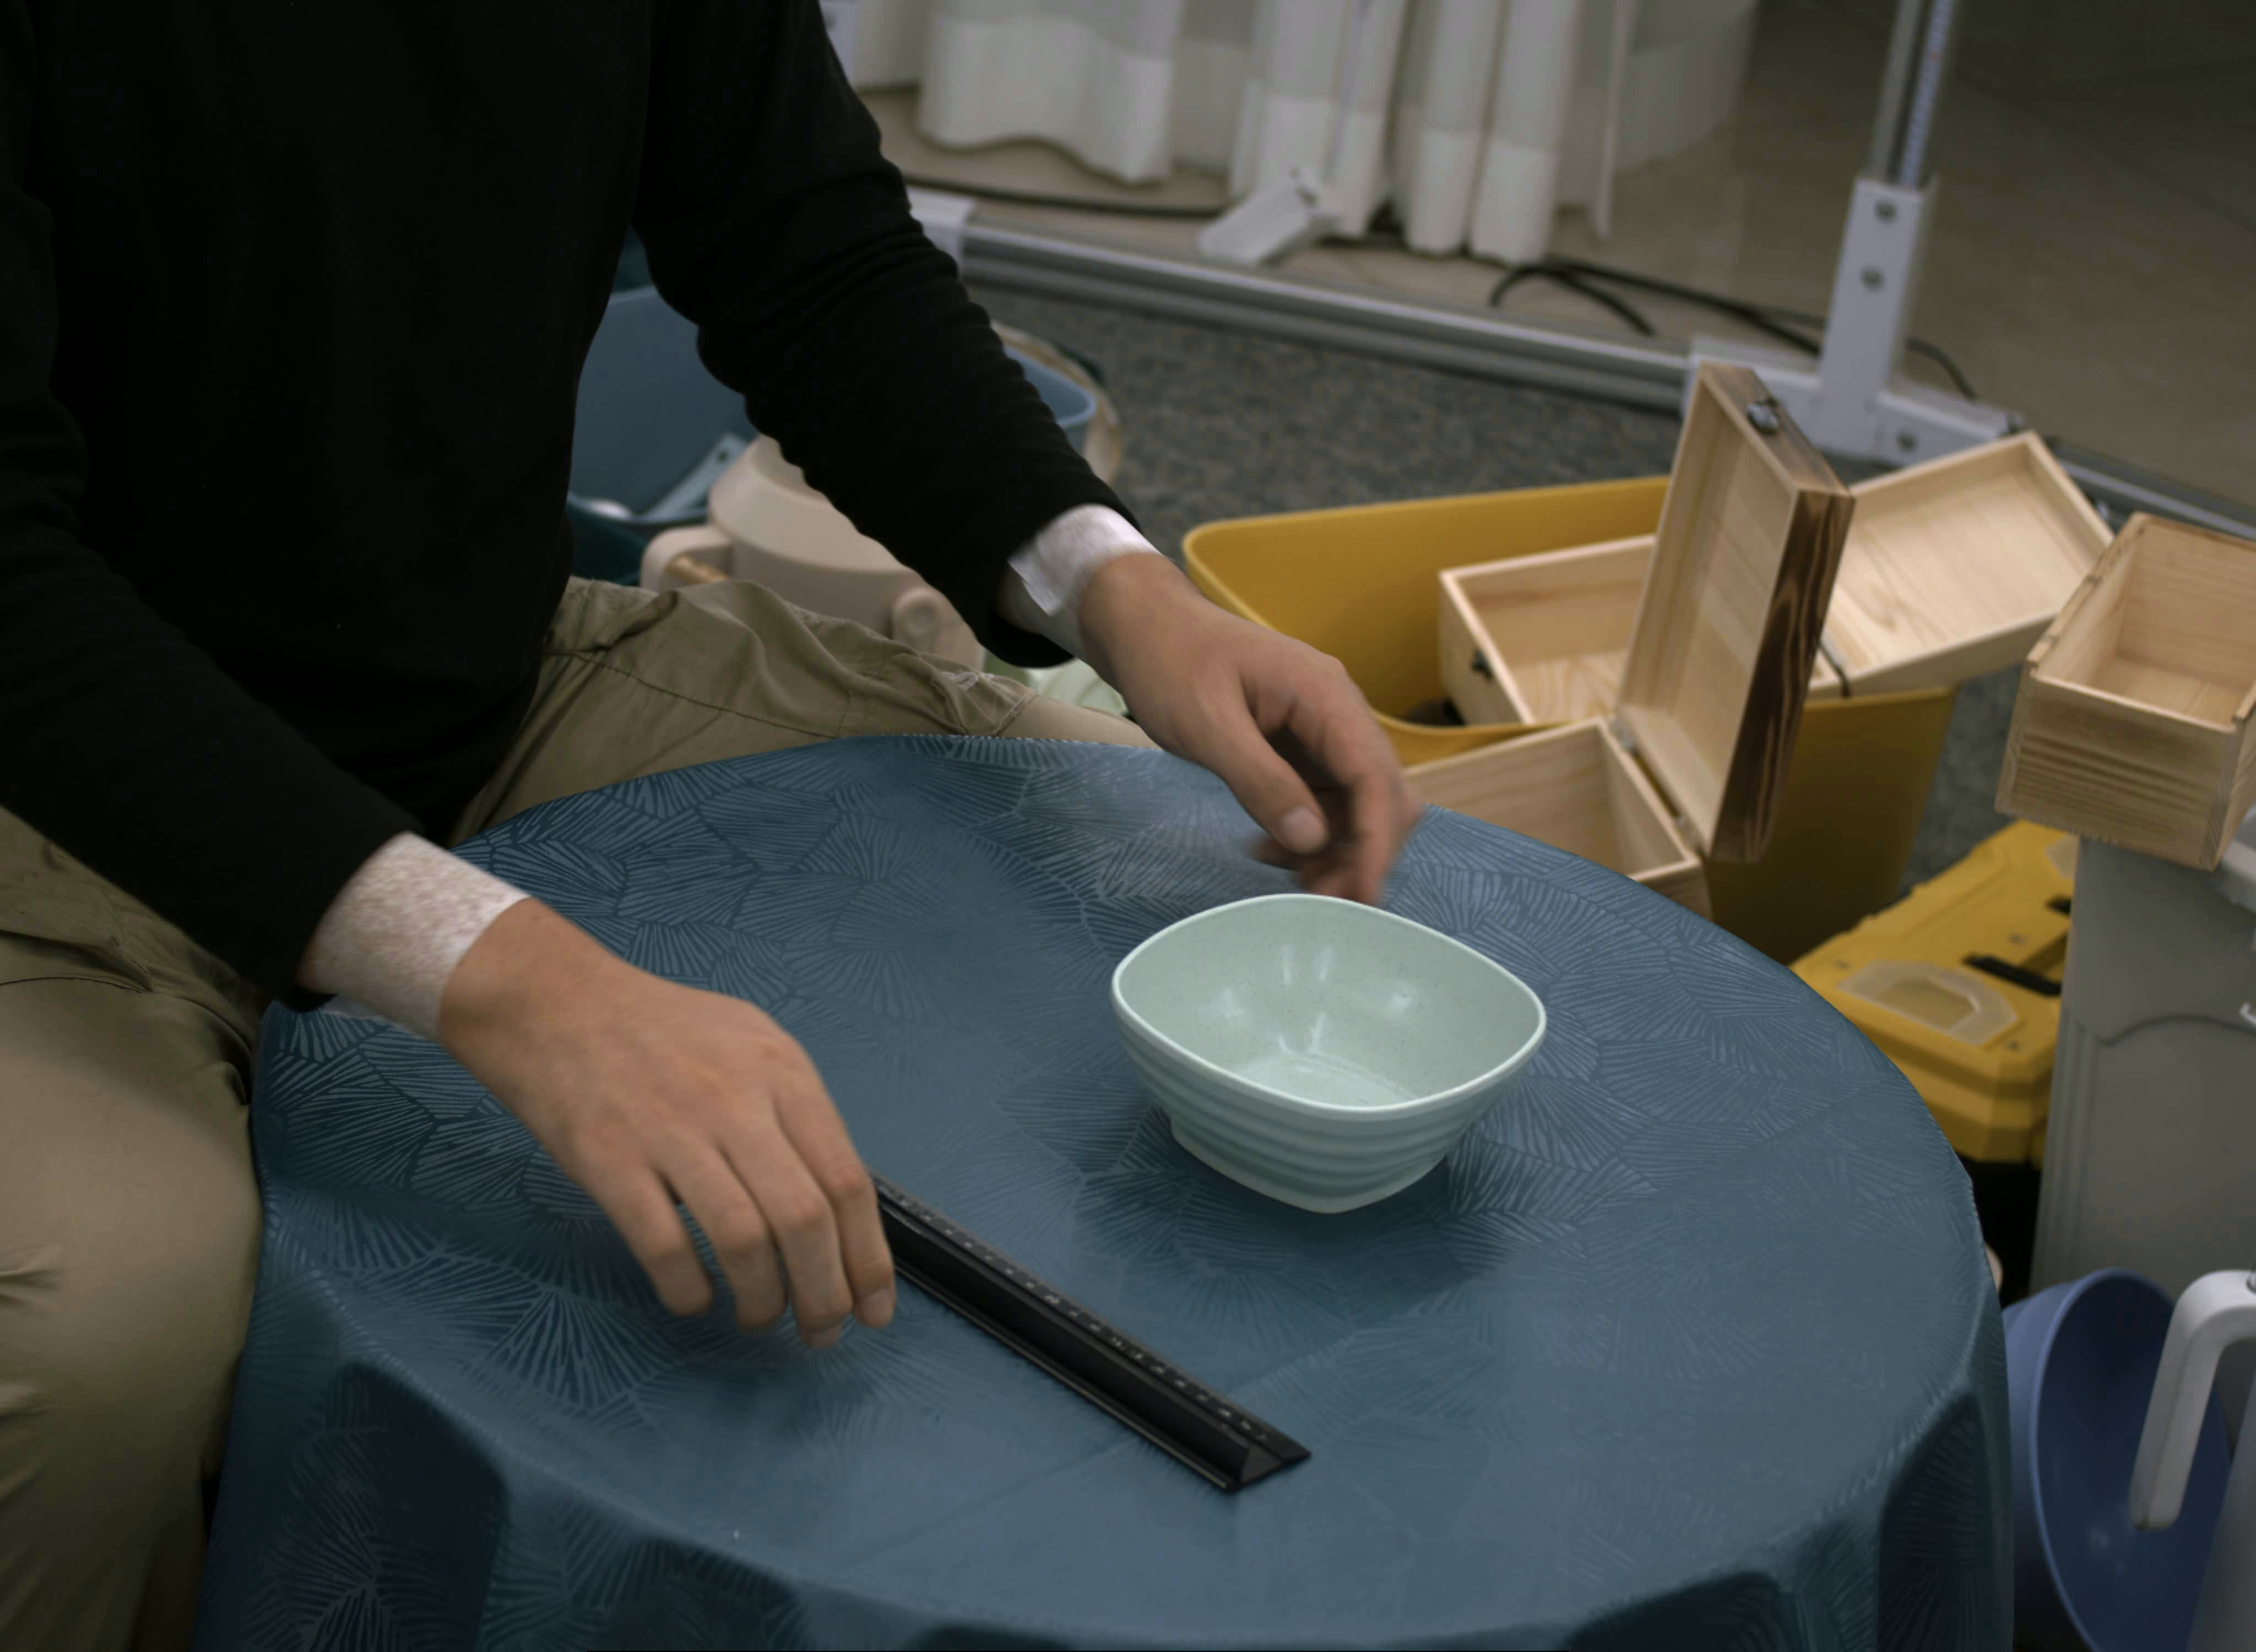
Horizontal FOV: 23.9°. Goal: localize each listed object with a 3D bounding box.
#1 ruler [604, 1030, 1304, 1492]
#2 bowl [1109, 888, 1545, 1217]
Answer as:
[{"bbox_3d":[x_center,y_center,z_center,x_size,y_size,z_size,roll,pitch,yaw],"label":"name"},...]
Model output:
[{"bbox_3d":[-0.061,0.135,1.749,0.039,0.017,0.315,-14,33,-42],"label":"ruler"},{"bbox_3d":[0.065,0.084,1.833,0.151,0.058,0.152,6,29,-4],"label":"bowl"}]
